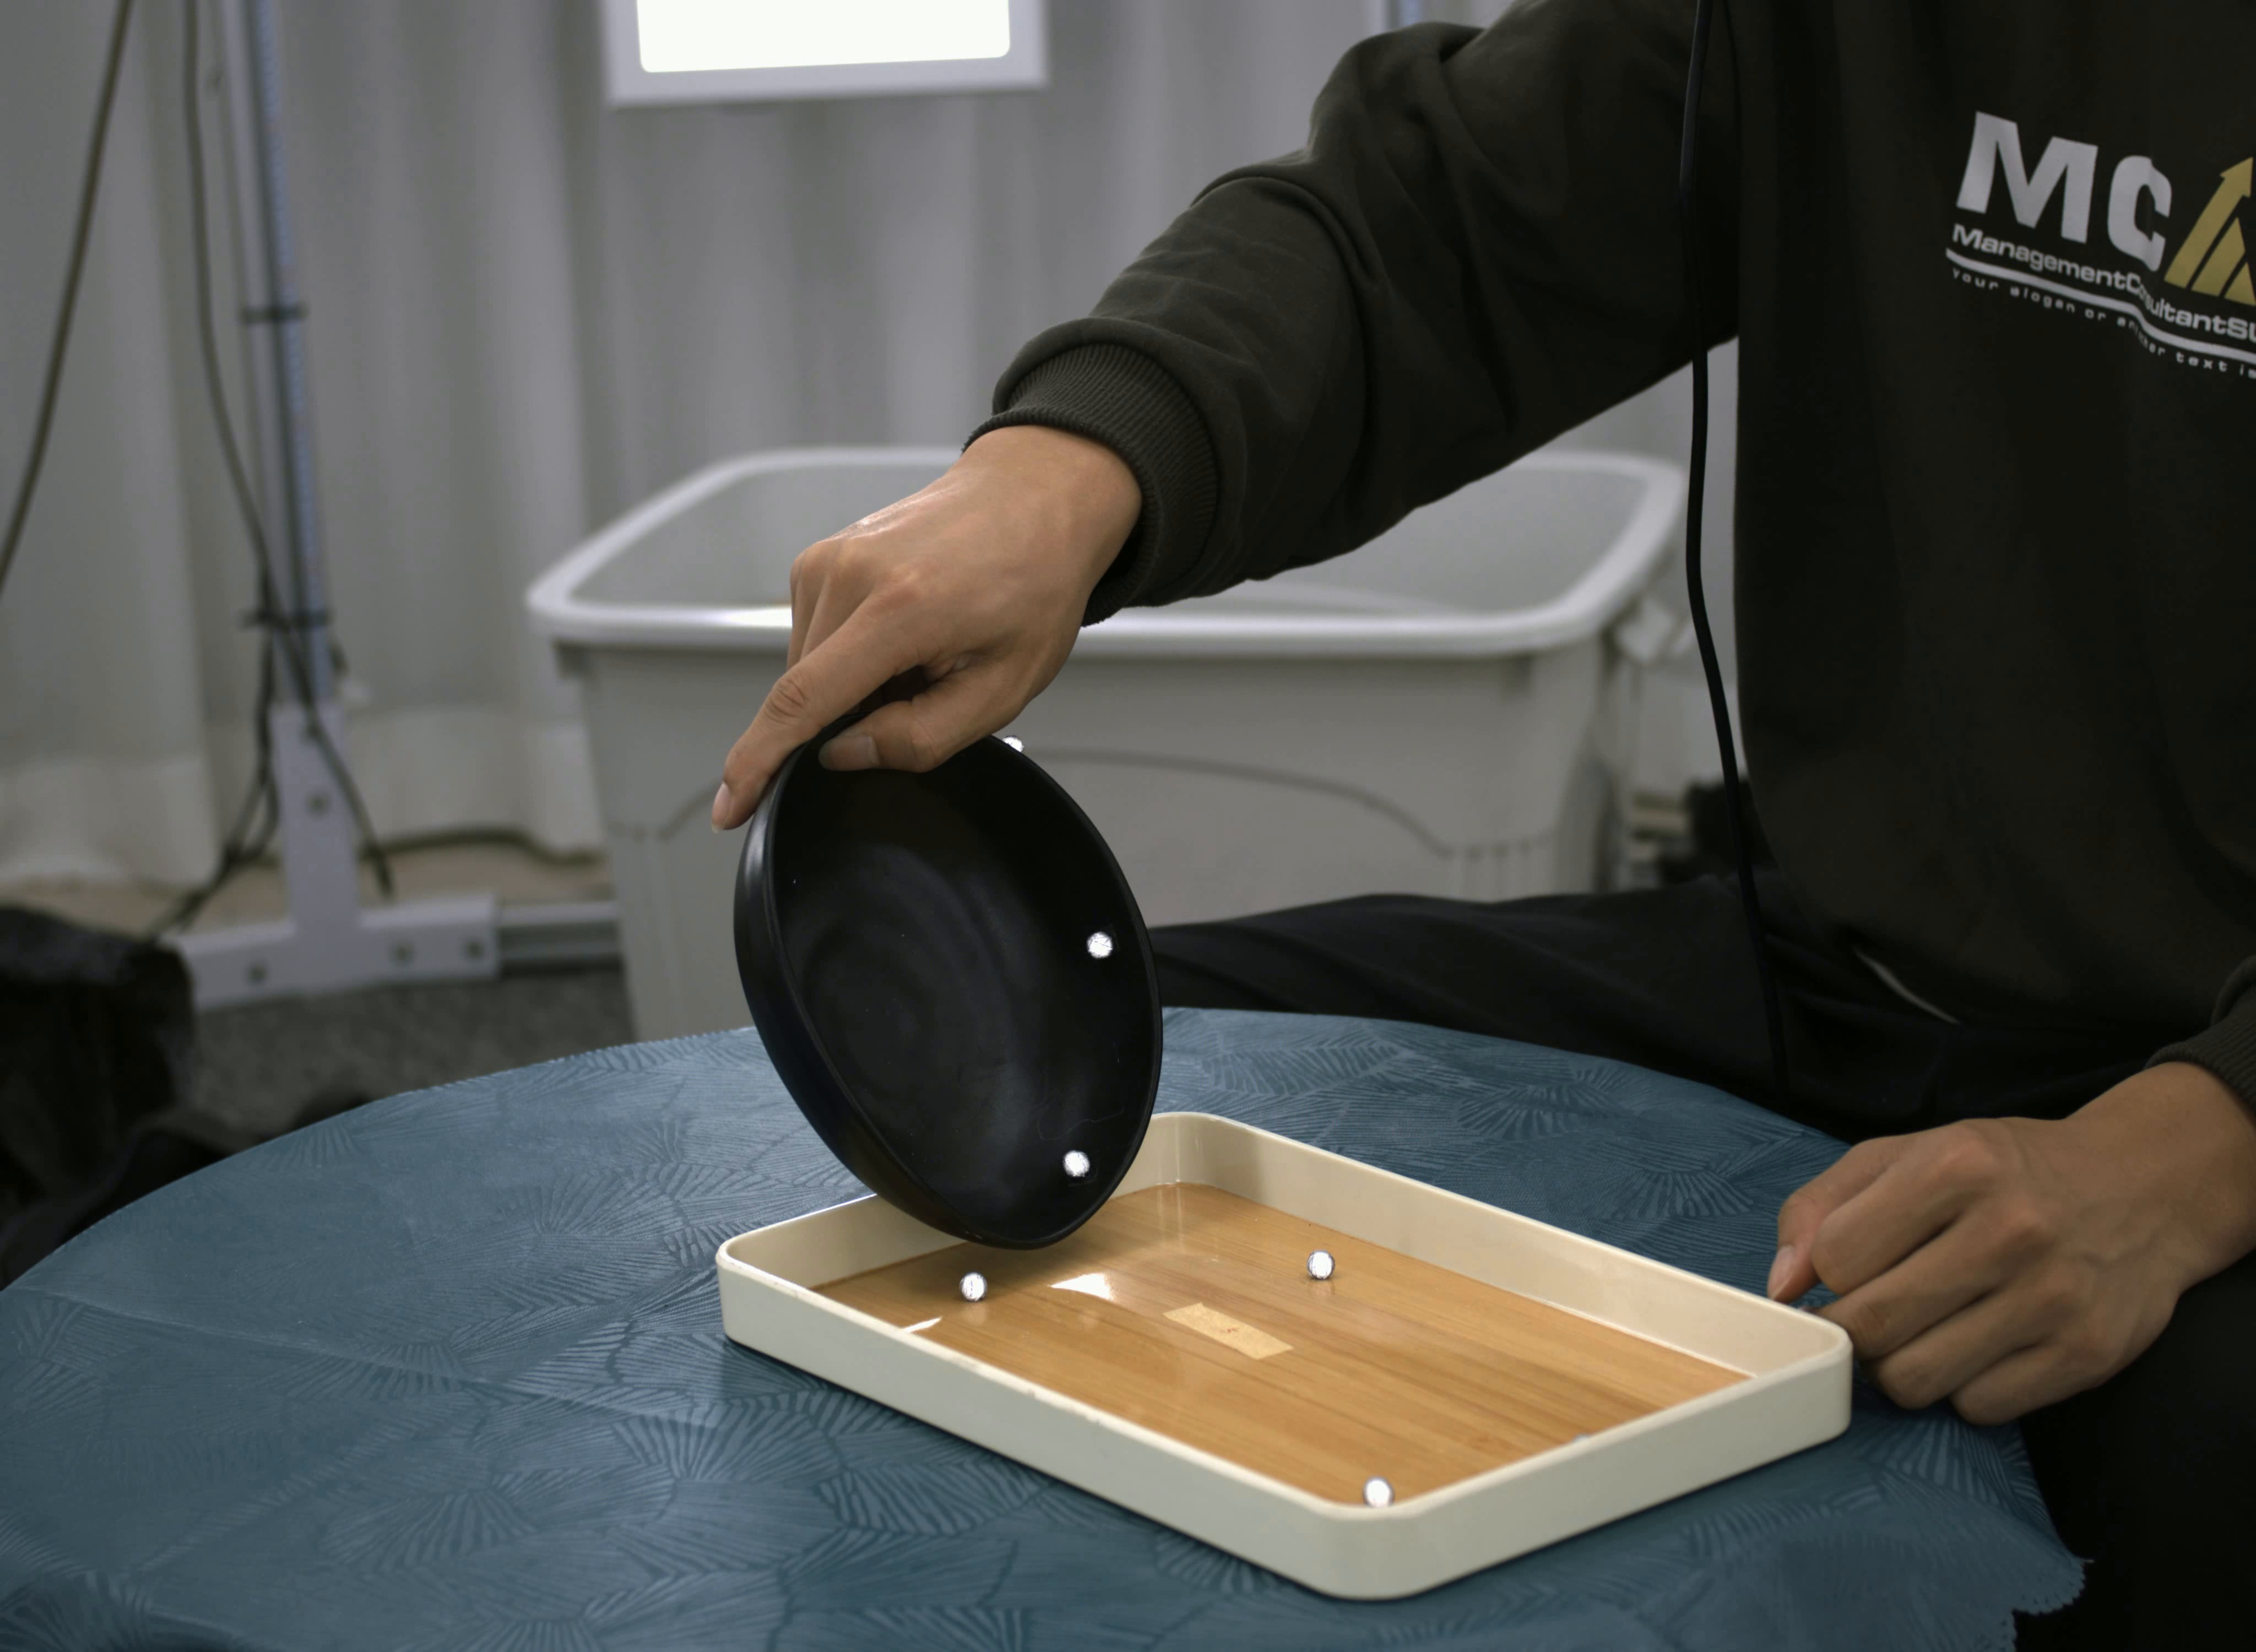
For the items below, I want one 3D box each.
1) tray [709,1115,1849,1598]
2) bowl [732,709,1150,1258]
[{"bbox_3d":[0.037,0.144,1.550,0.191,0.027,0.302,-14,18,-37],"label":"tray"},{"bbox_3d":[-0.065,0.052,1.653,0.137,0.171,0.066,-21,-5,-41],"label":"bowl"}]
